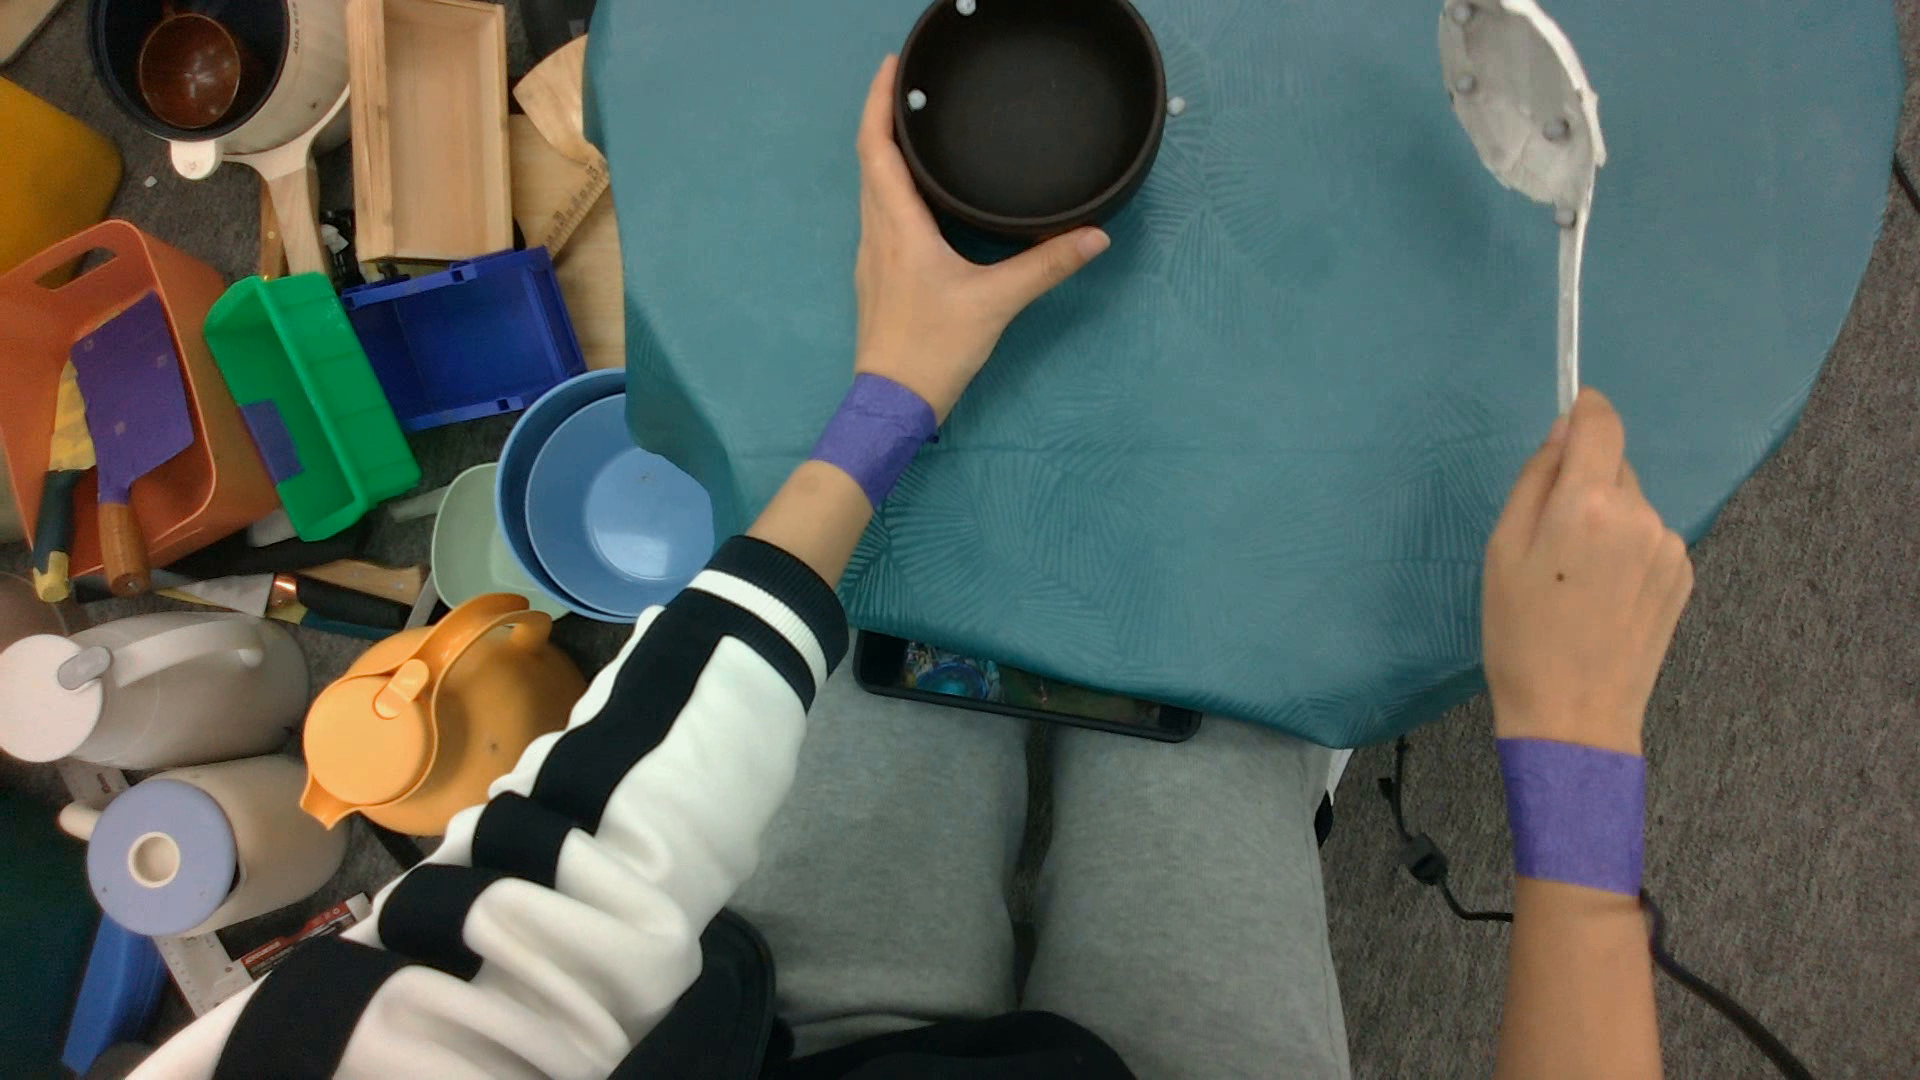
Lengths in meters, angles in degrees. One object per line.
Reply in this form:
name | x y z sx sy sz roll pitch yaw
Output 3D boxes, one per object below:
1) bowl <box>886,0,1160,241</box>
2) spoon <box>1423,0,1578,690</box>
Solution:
bowl | 0.029 -0.189 0.614 0.118 0.070 0.118 0 86 4
spoon | 0.215 -0.078 0.563 0.059 0.101 0.277 2 93 5
